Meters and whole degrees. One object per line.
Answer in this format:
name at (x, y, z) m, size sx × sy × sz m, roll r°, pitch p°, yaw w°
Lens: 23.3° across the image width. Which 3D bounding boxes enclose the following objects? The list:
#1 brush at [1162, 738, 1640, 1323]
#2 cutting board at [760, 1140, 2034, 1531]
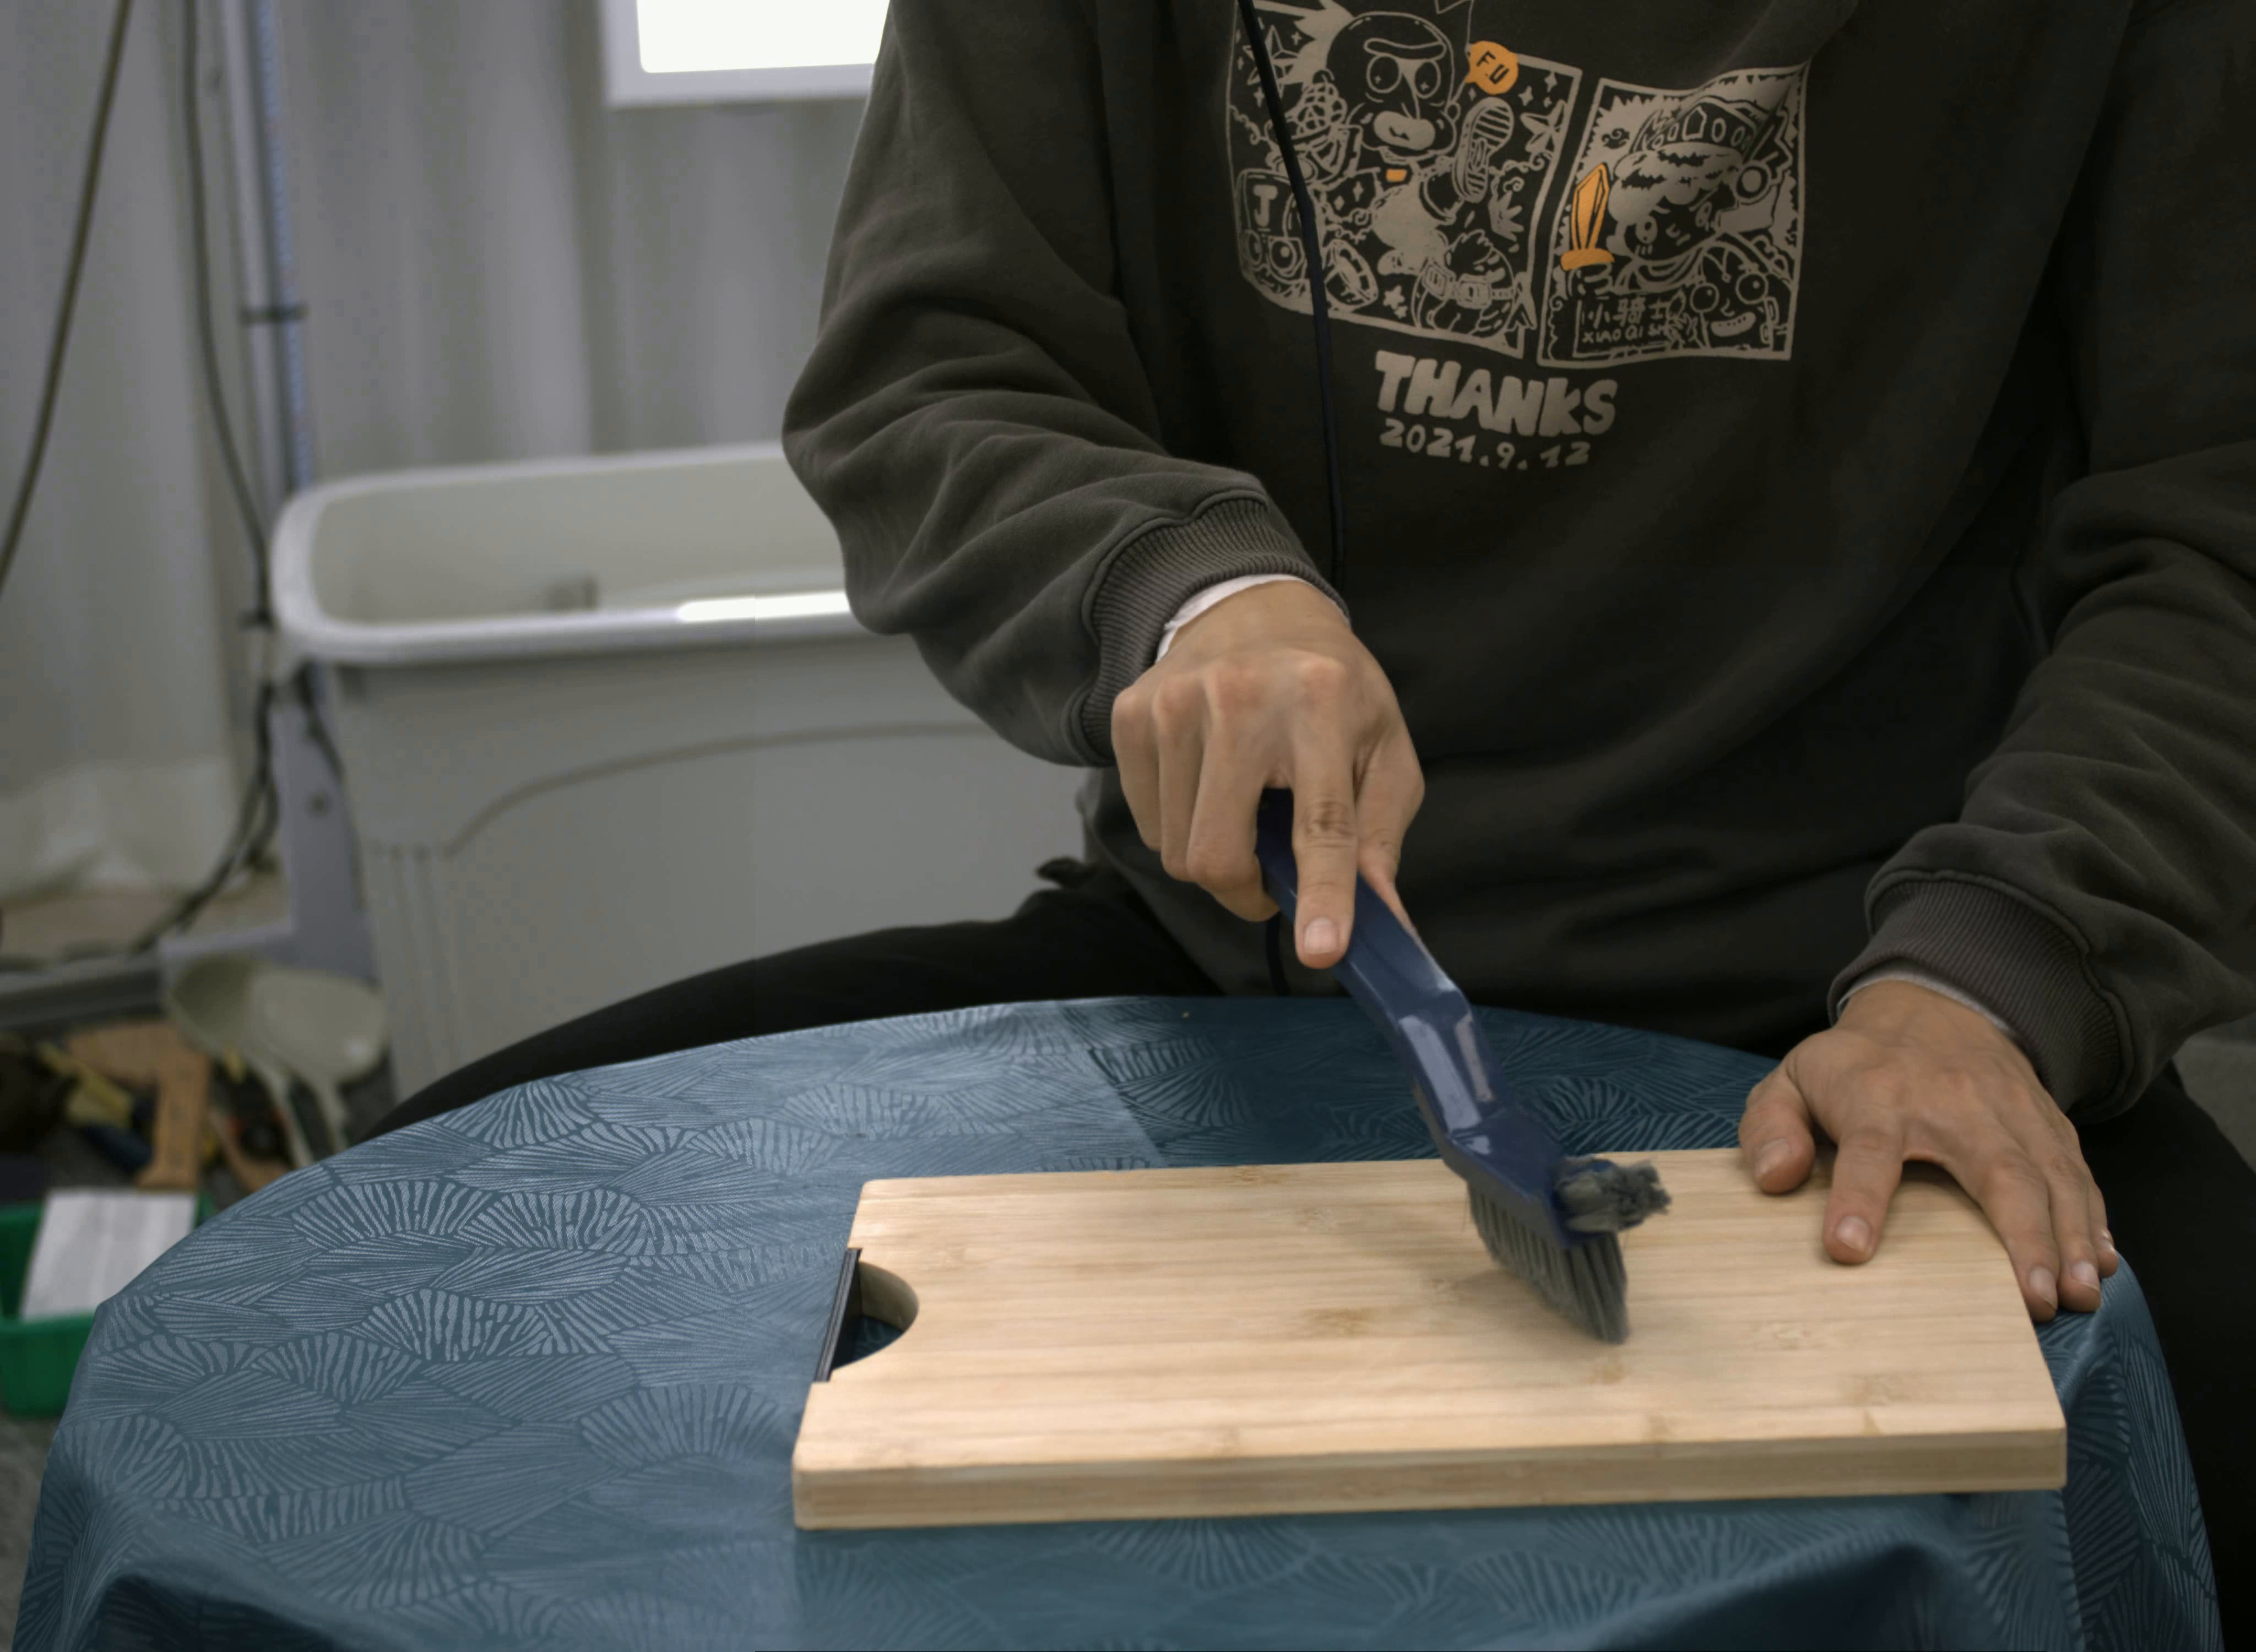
brush at (0.079, 0.042, 1.598) m, size 0.033 × 0.094 × 0.277 m, roll -20°, pitch 46°, yaw -15°
cutting board at (0.077, 0.144, 1.568) m, size 0.347 × 0.023 × 0.252 m, roll -2°, pitch 15°, yaw 2°
